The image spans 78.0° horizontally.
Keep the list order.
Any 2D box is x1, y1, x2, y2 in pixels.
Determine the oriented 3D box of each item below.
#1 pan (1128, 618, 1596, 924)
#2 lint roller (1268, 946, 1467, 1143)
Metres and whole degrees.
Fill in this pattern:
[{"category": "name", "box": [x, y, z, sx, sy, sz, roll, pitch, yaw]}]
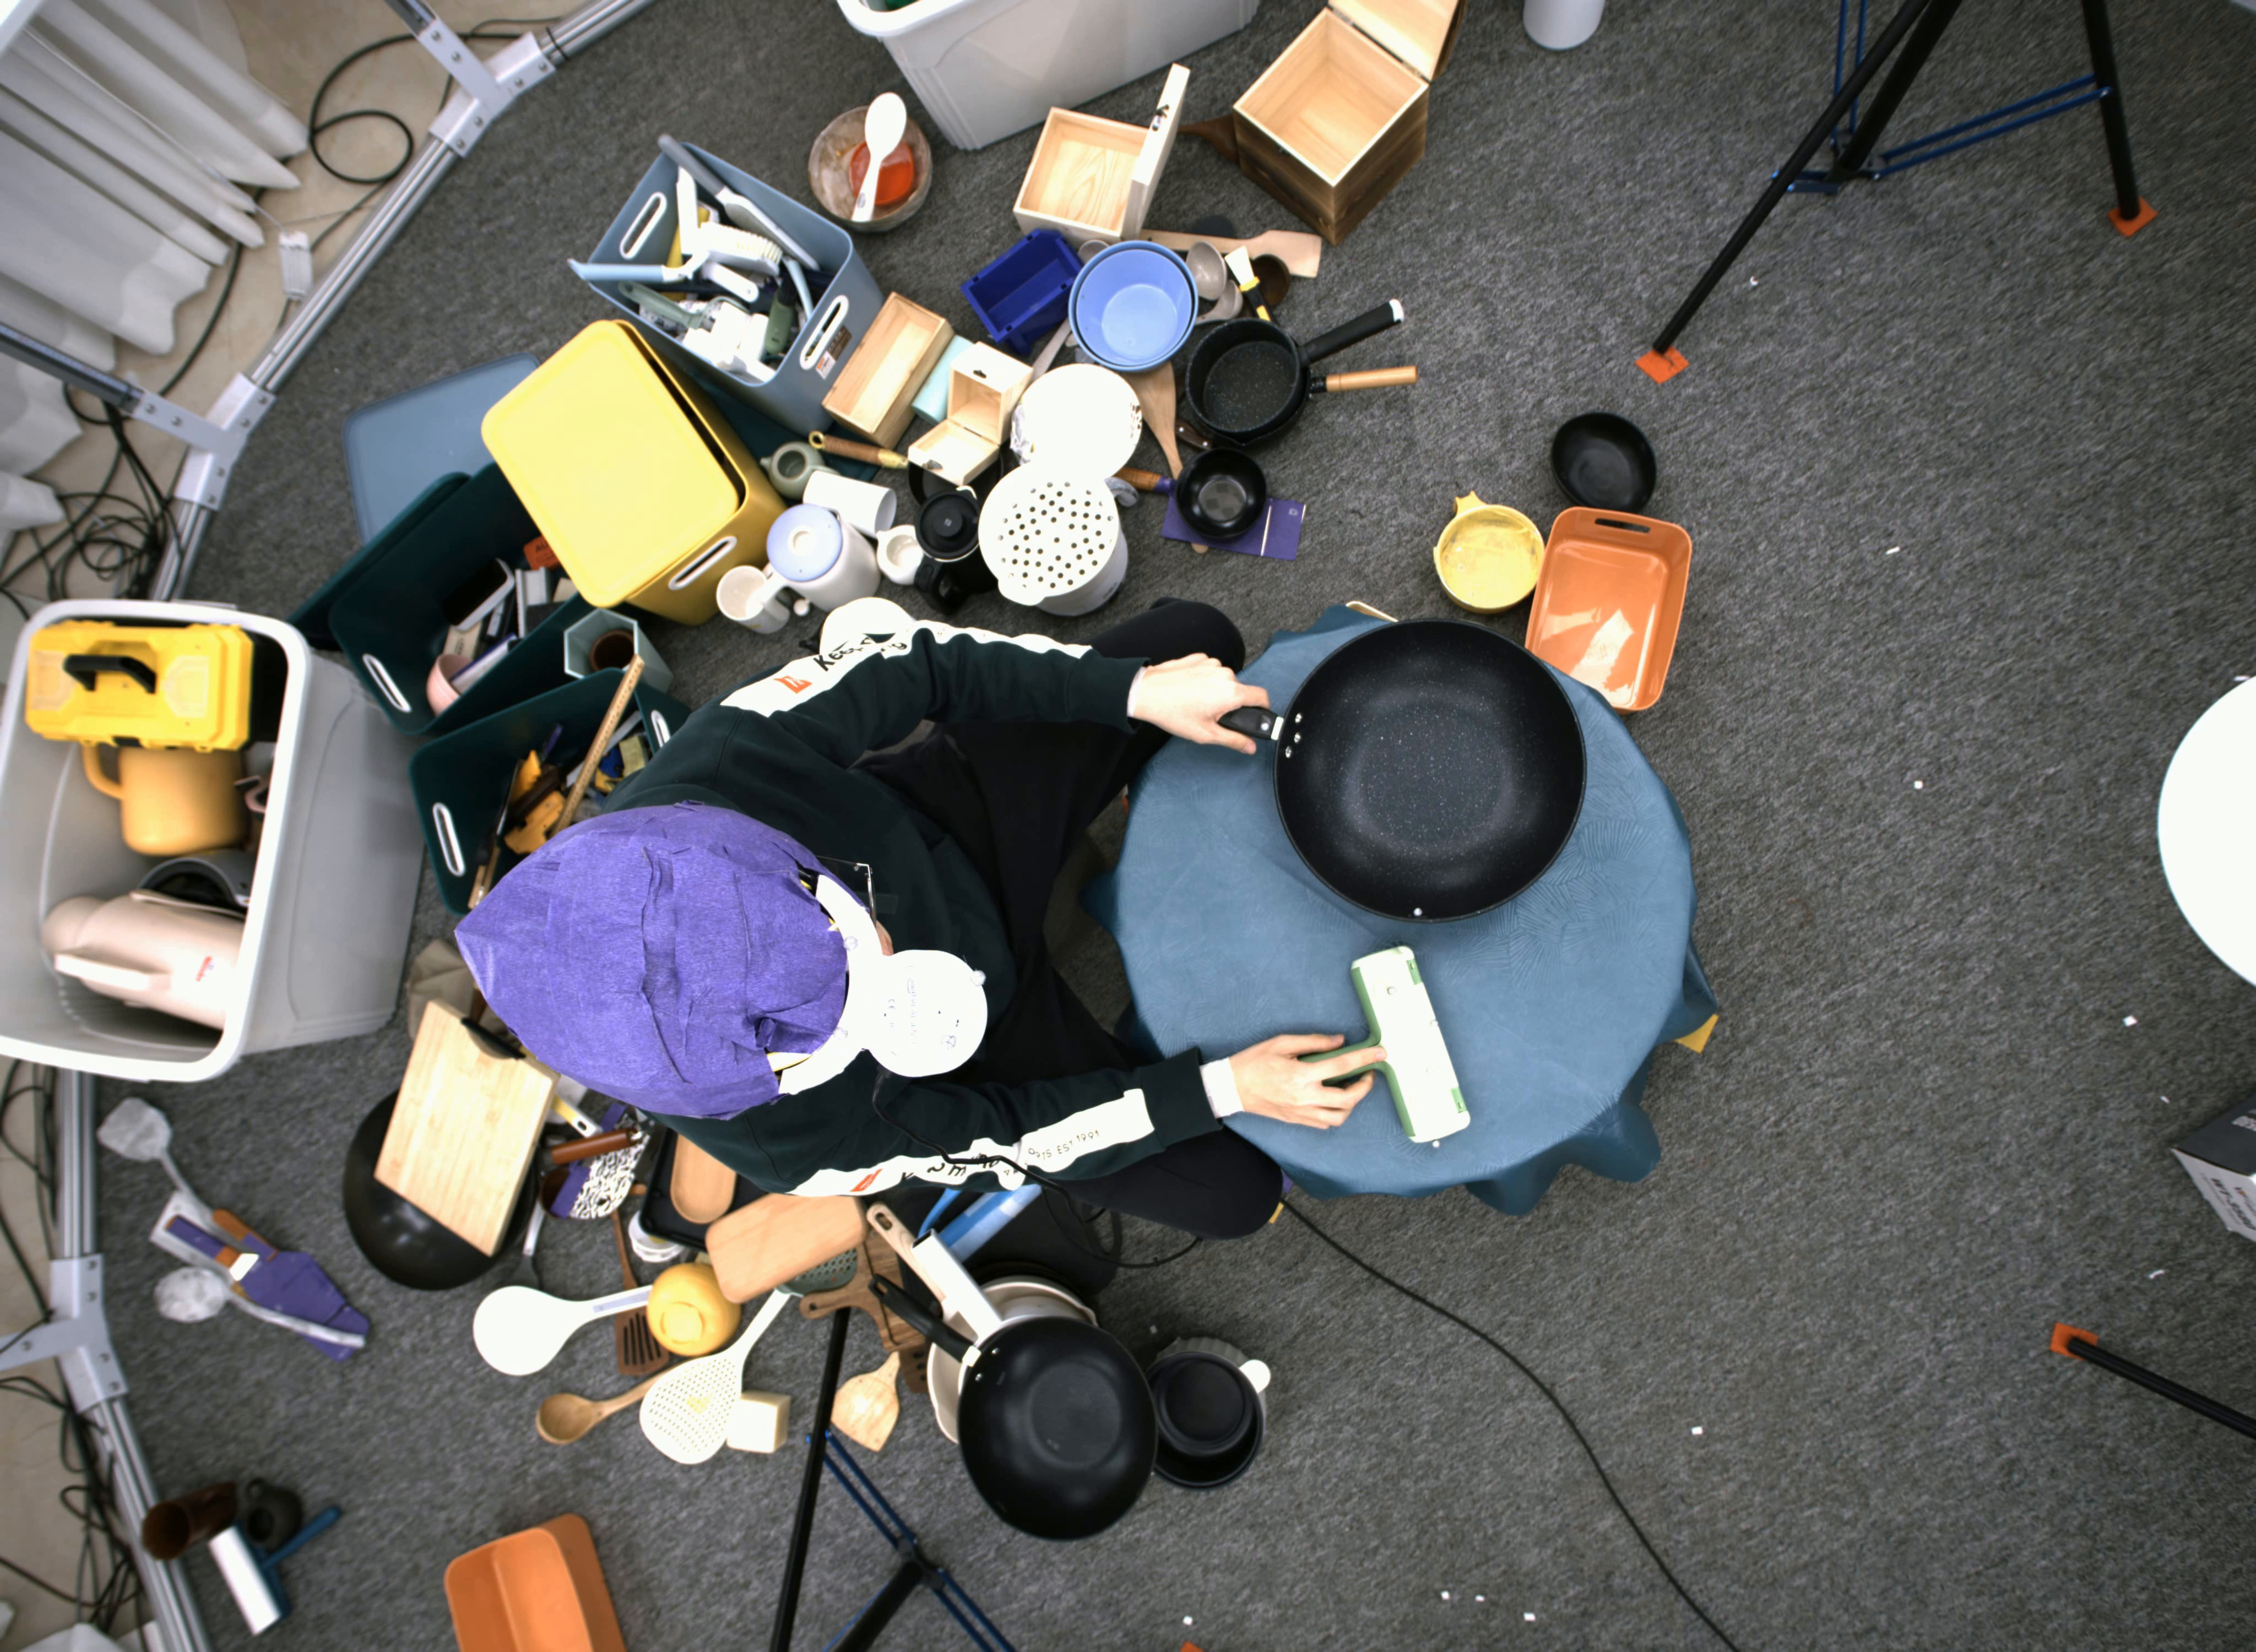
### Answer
[{"category": "pan", "box": [0.234, -0.078, 1.417, 0.477, 0.112, 0.310, 16, 89, 15]}, {"category": "lint roller", "box": [0.231, 0.239, 1.416, 0.184, 0.082, 0.197, -18, 84, 4]}]
